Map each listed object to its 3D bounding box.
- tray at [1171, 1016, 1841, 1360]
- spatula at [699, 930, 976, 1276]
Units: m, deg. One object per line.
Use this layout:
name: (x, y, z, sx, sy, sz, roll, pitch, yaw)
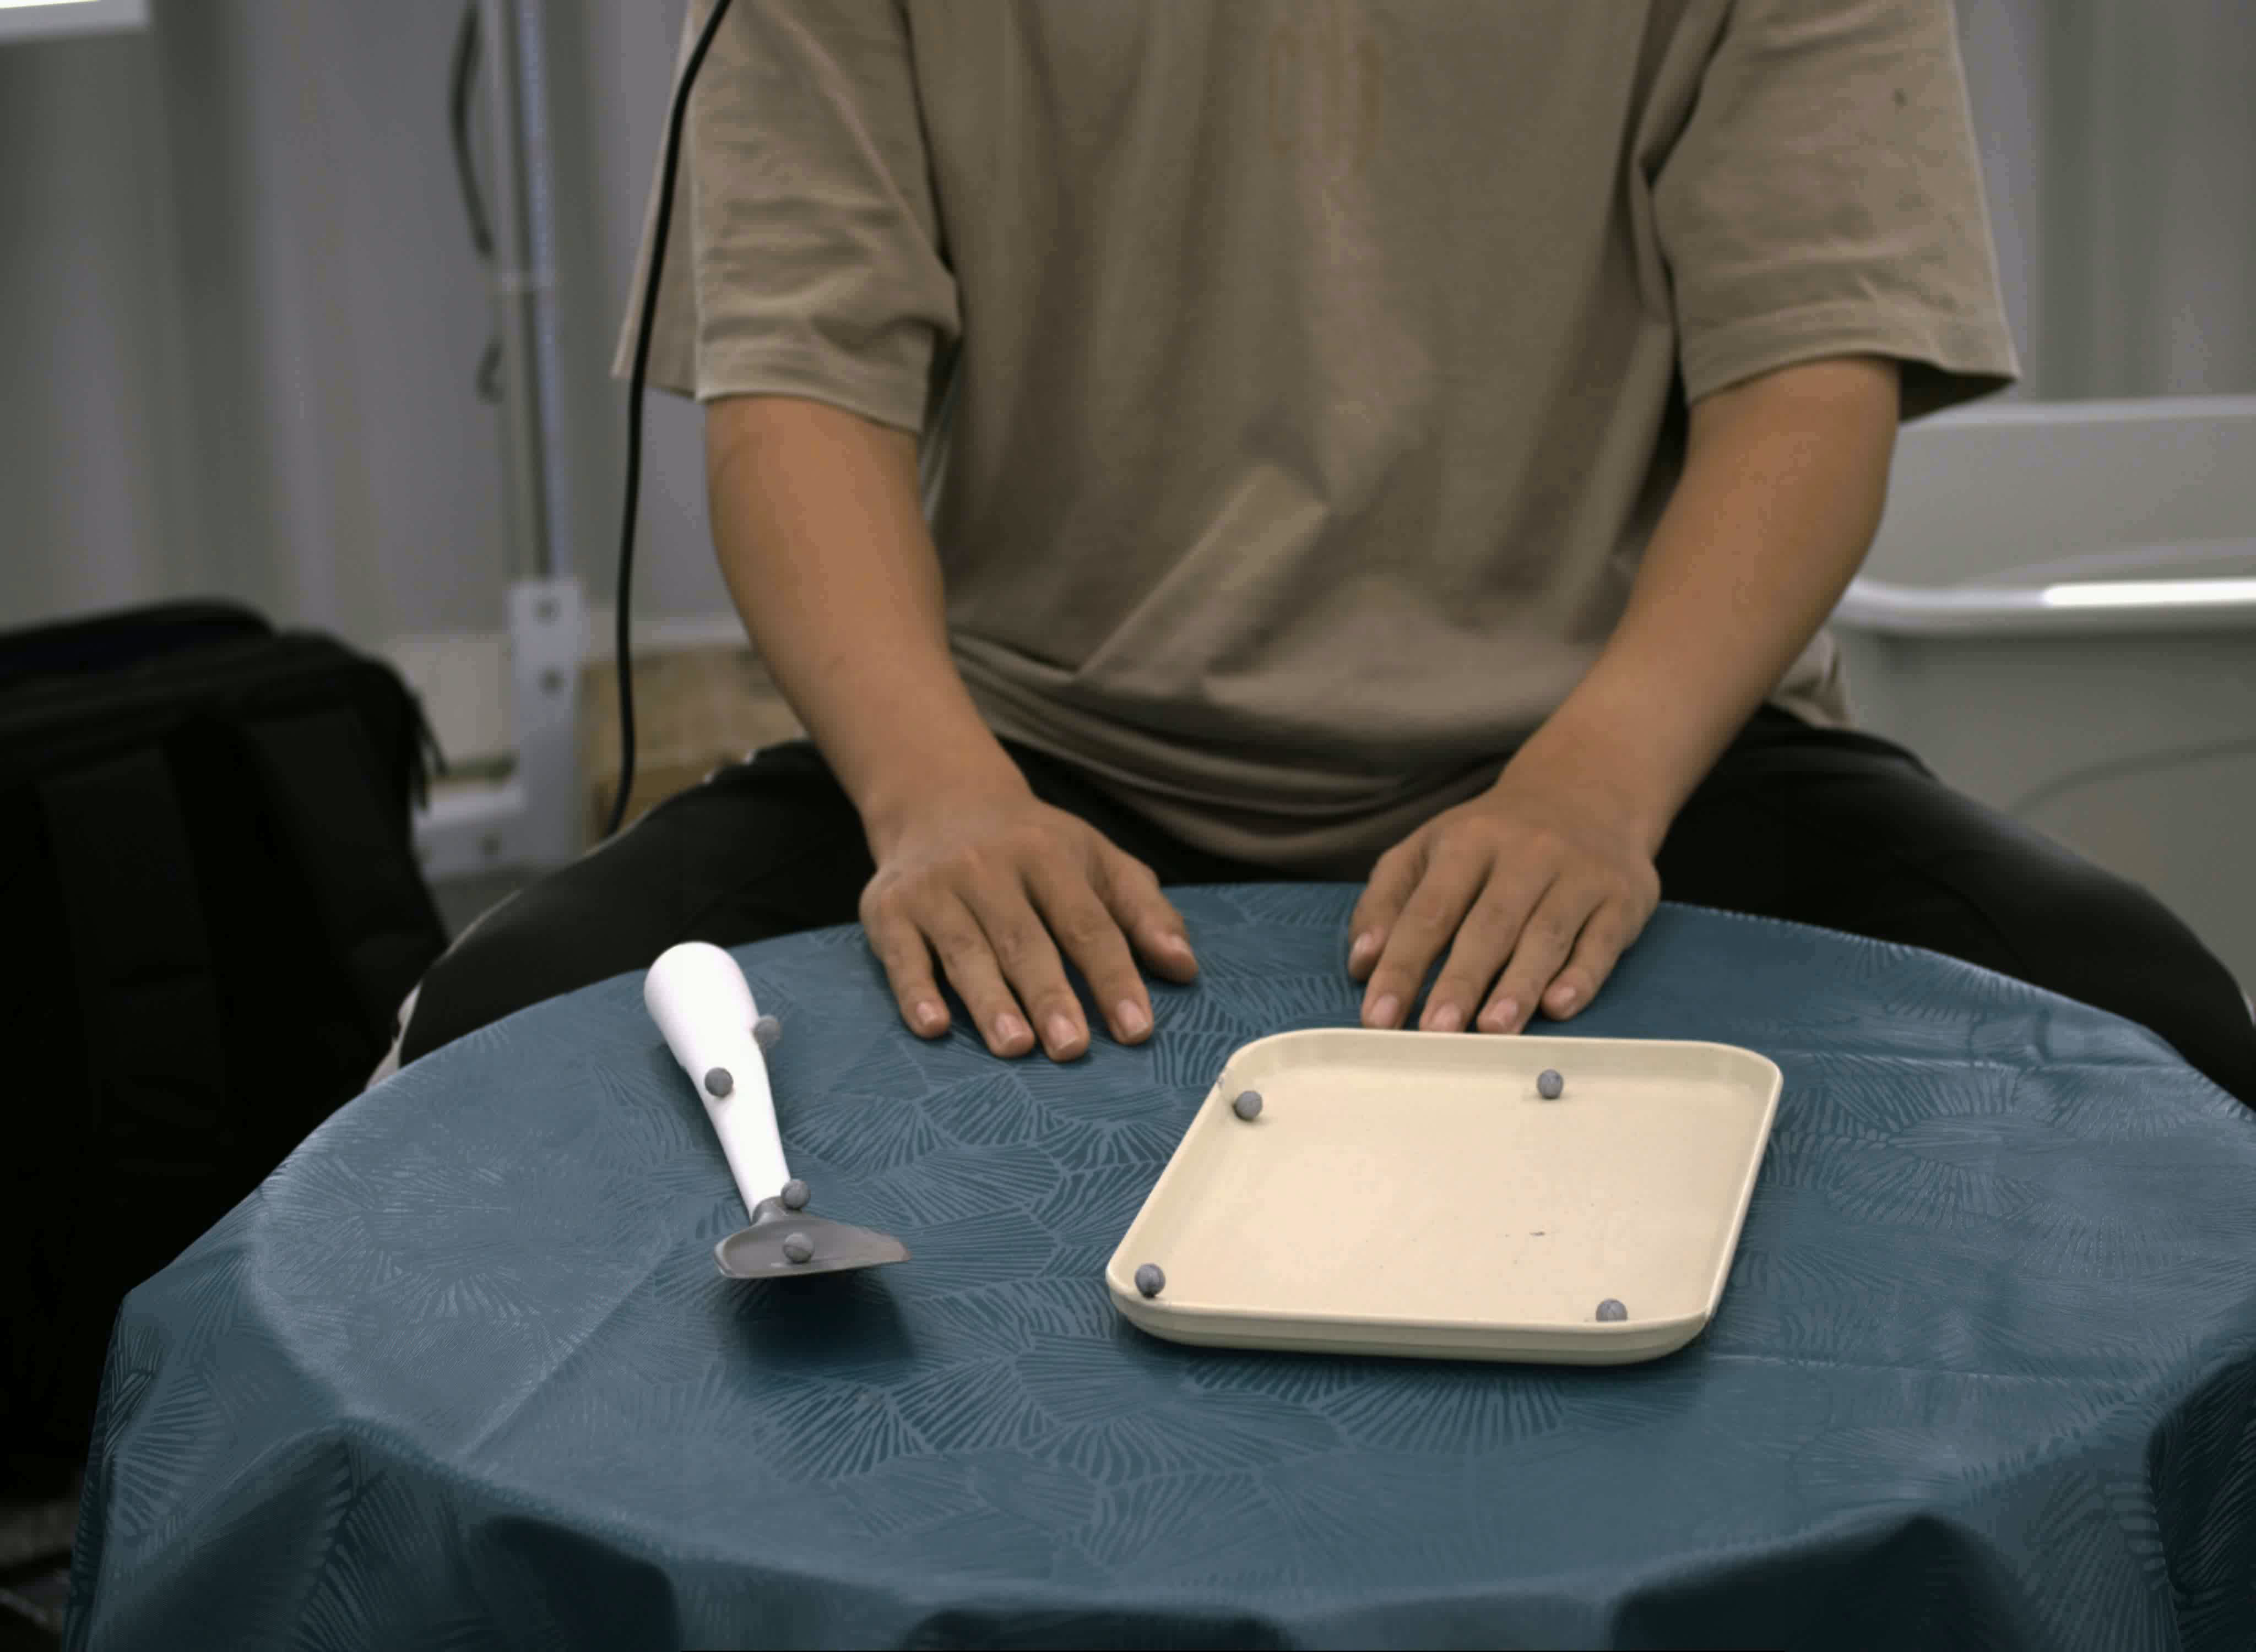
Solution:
tray: (0.113, 0.102, 1.517, 0.172, 0.017, 0.238, 2, 17, 13)
spatula: (-0.093, 0.087, 1.566, 0.058, 0.032, 0.291, -1, 16, -11)
